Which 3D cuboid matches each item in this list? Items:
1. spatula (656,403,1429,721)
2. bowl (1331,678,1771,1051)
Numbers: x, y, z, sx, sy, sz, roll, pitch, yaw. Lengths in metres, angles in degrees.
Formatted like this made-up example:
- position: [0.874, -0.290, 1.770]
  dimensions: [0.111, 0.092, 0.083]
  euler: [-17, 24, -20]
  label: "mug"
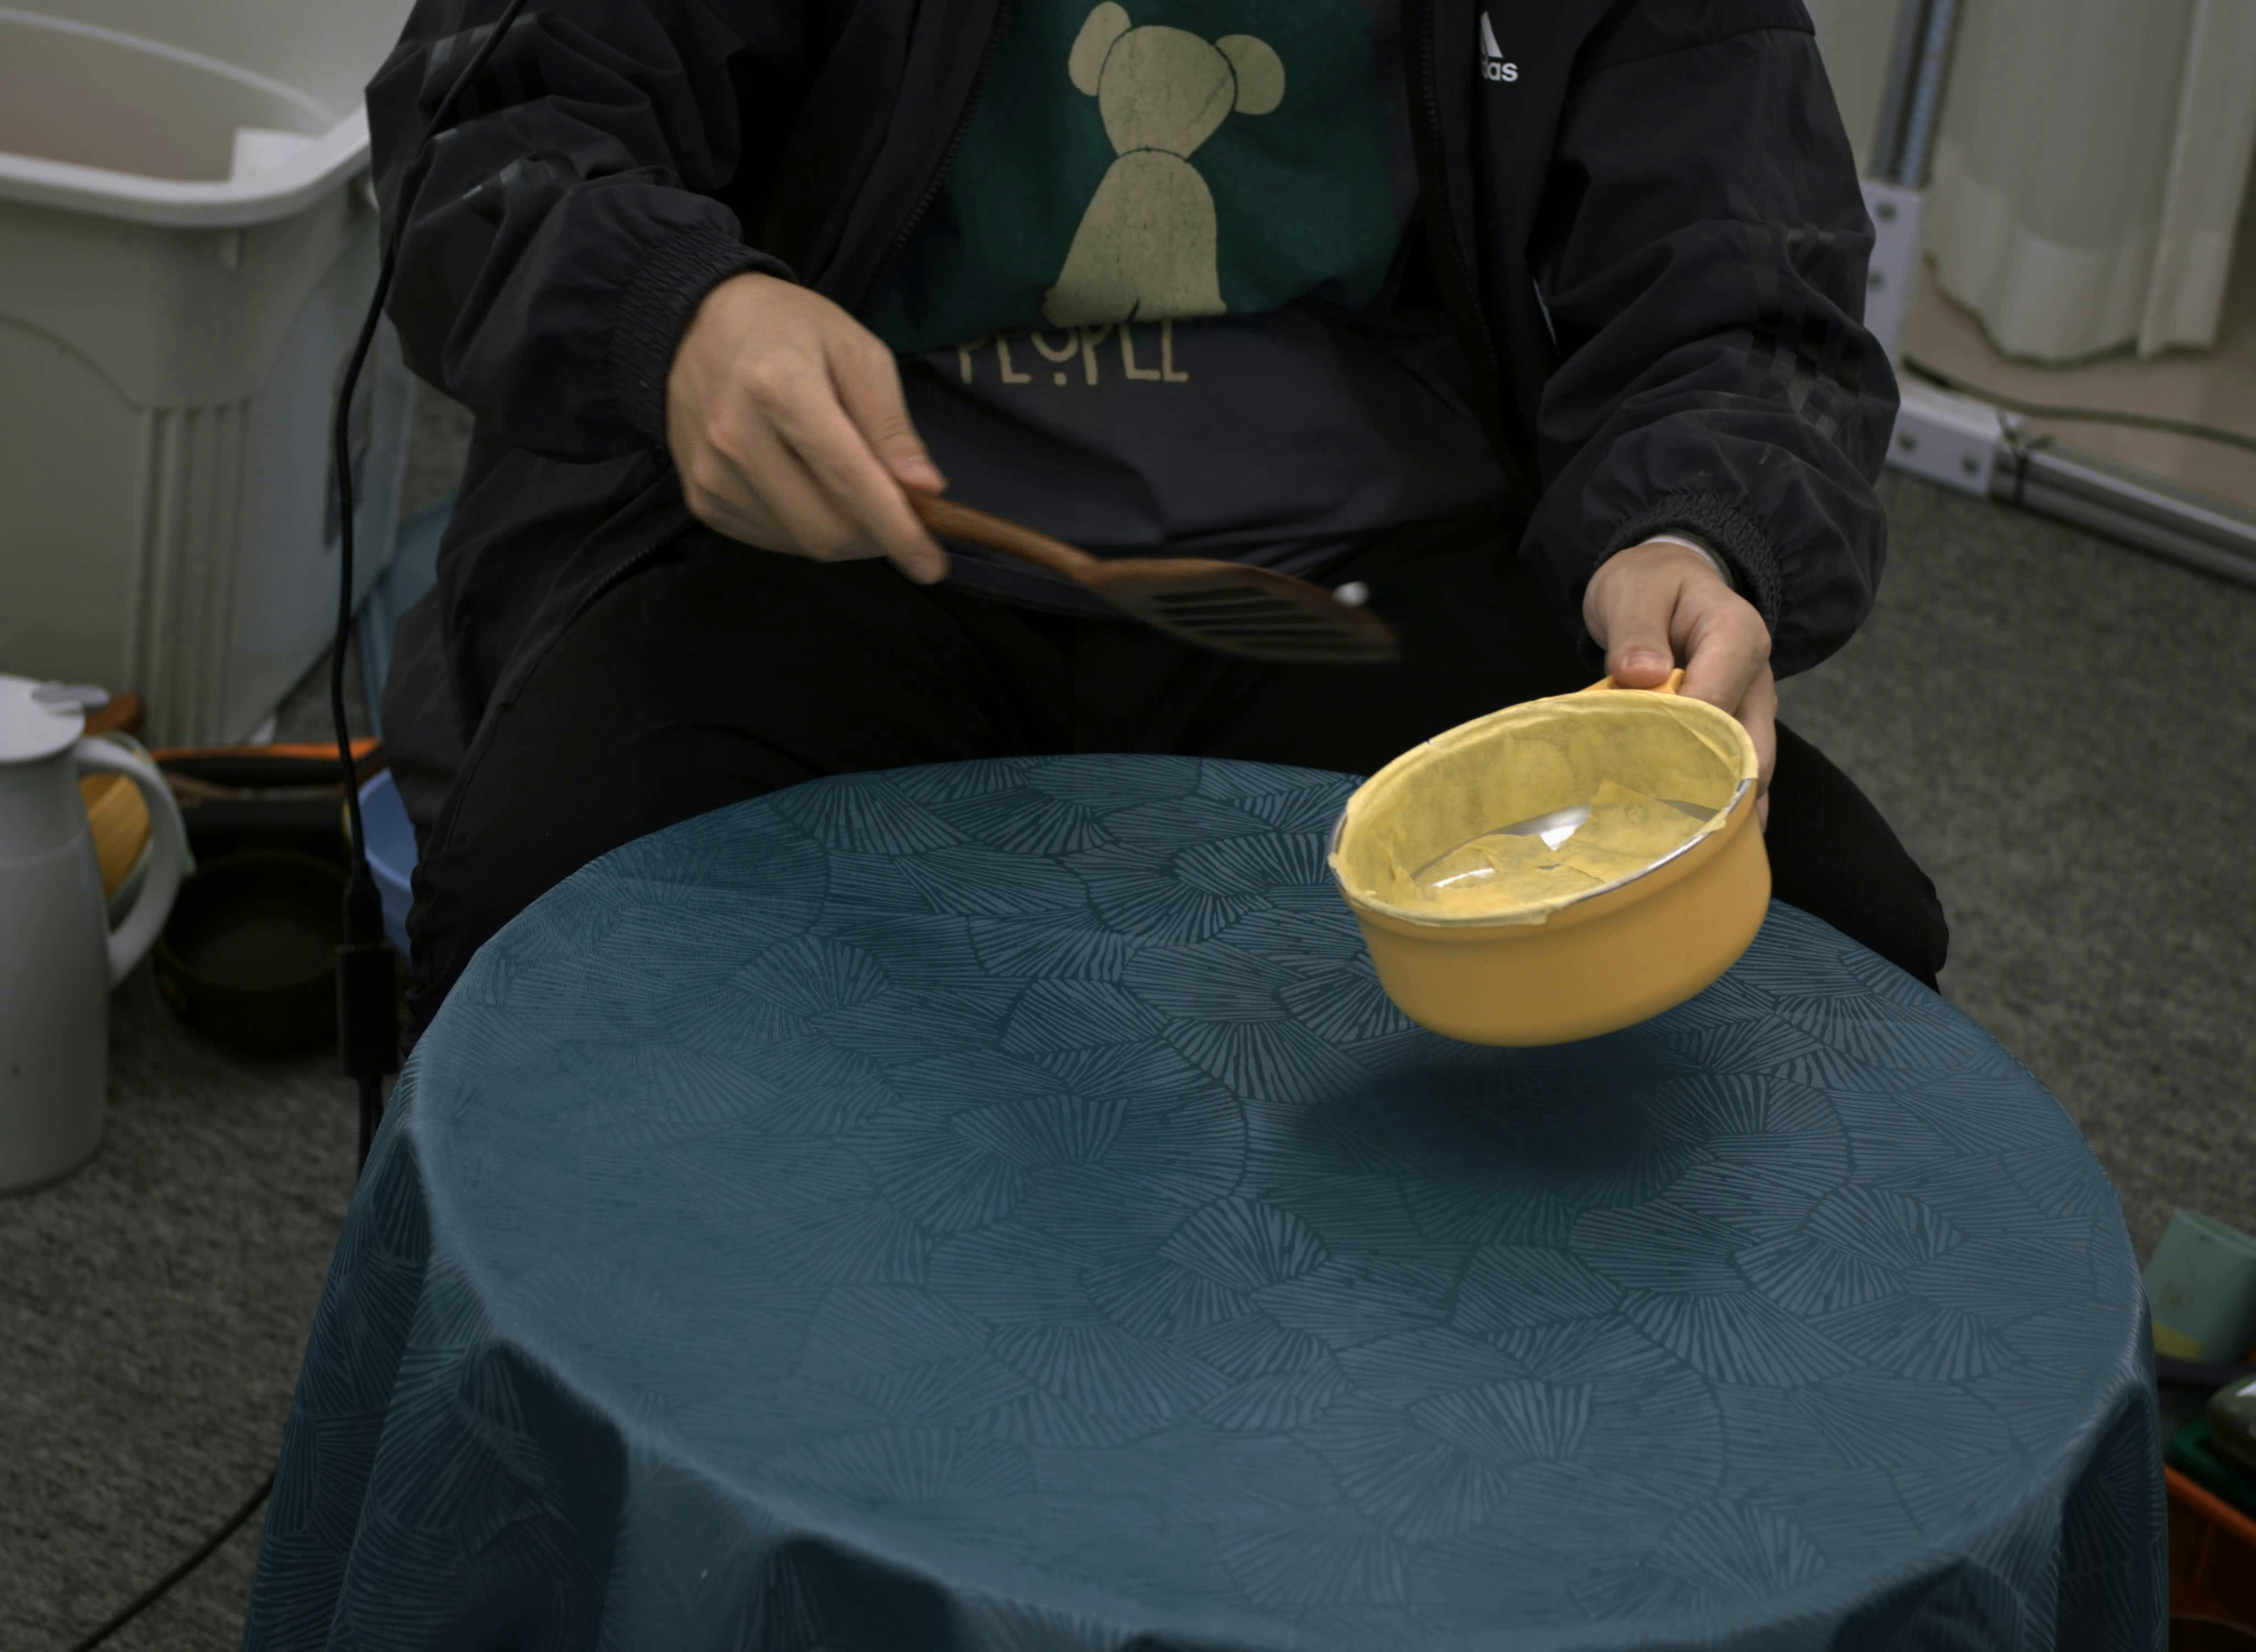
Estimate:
- position: [-0.047, -0.098, 1.904]
  dimensions: [0.390, 0.024, 0.084]
  euler: [24, -7, 43]
  label: "spatula"
- position: [0.159, 0.013, 1.869]
  dimensions: [0.153, 0.074, 0.179]
  euler: [-3, 30, 27]
  label: "bowl"
